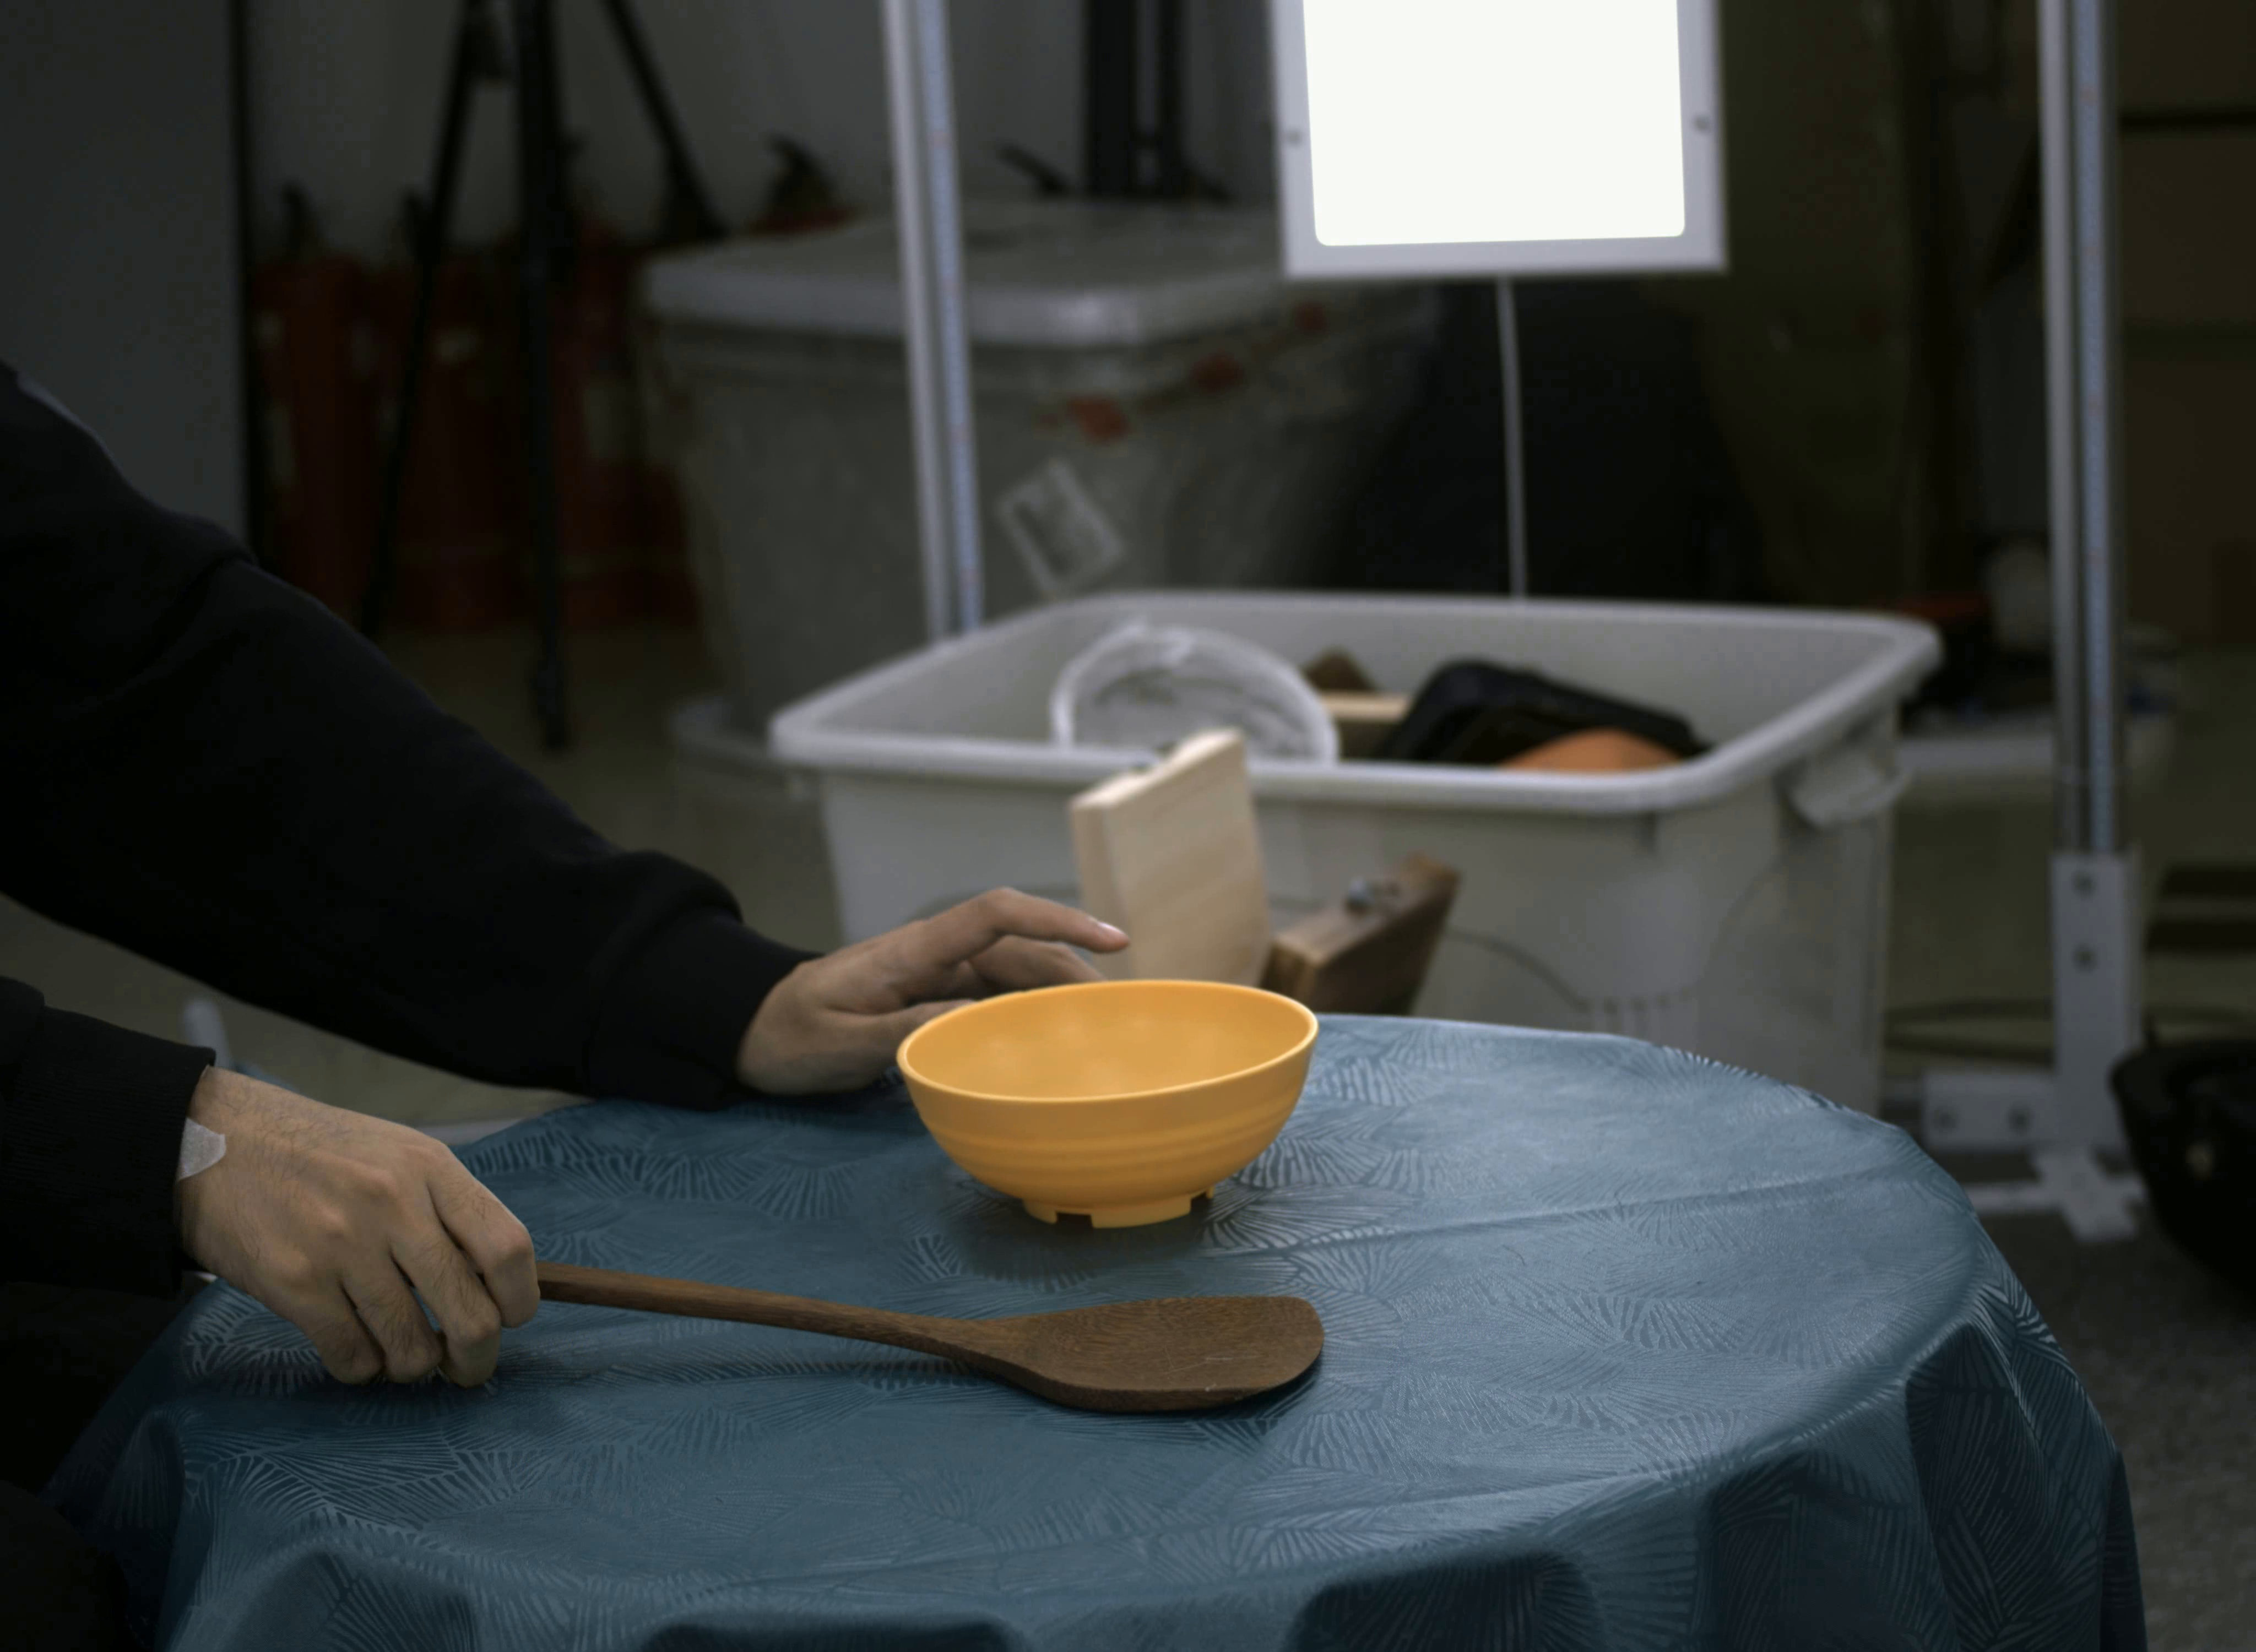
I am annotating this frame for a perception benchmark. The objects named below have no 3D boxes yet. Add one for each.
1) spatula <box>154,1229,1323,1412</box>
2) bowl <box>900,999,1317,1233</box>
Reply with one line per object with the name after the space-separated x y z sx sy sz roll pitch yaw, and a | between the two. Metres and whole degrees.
-0.128 0.153 1.754 0.389 0.016 0.095 5 15 14 | spatula
-0.005 0.102 1.883 0.145 0.060 0.145 -5 11 0 | bowl
